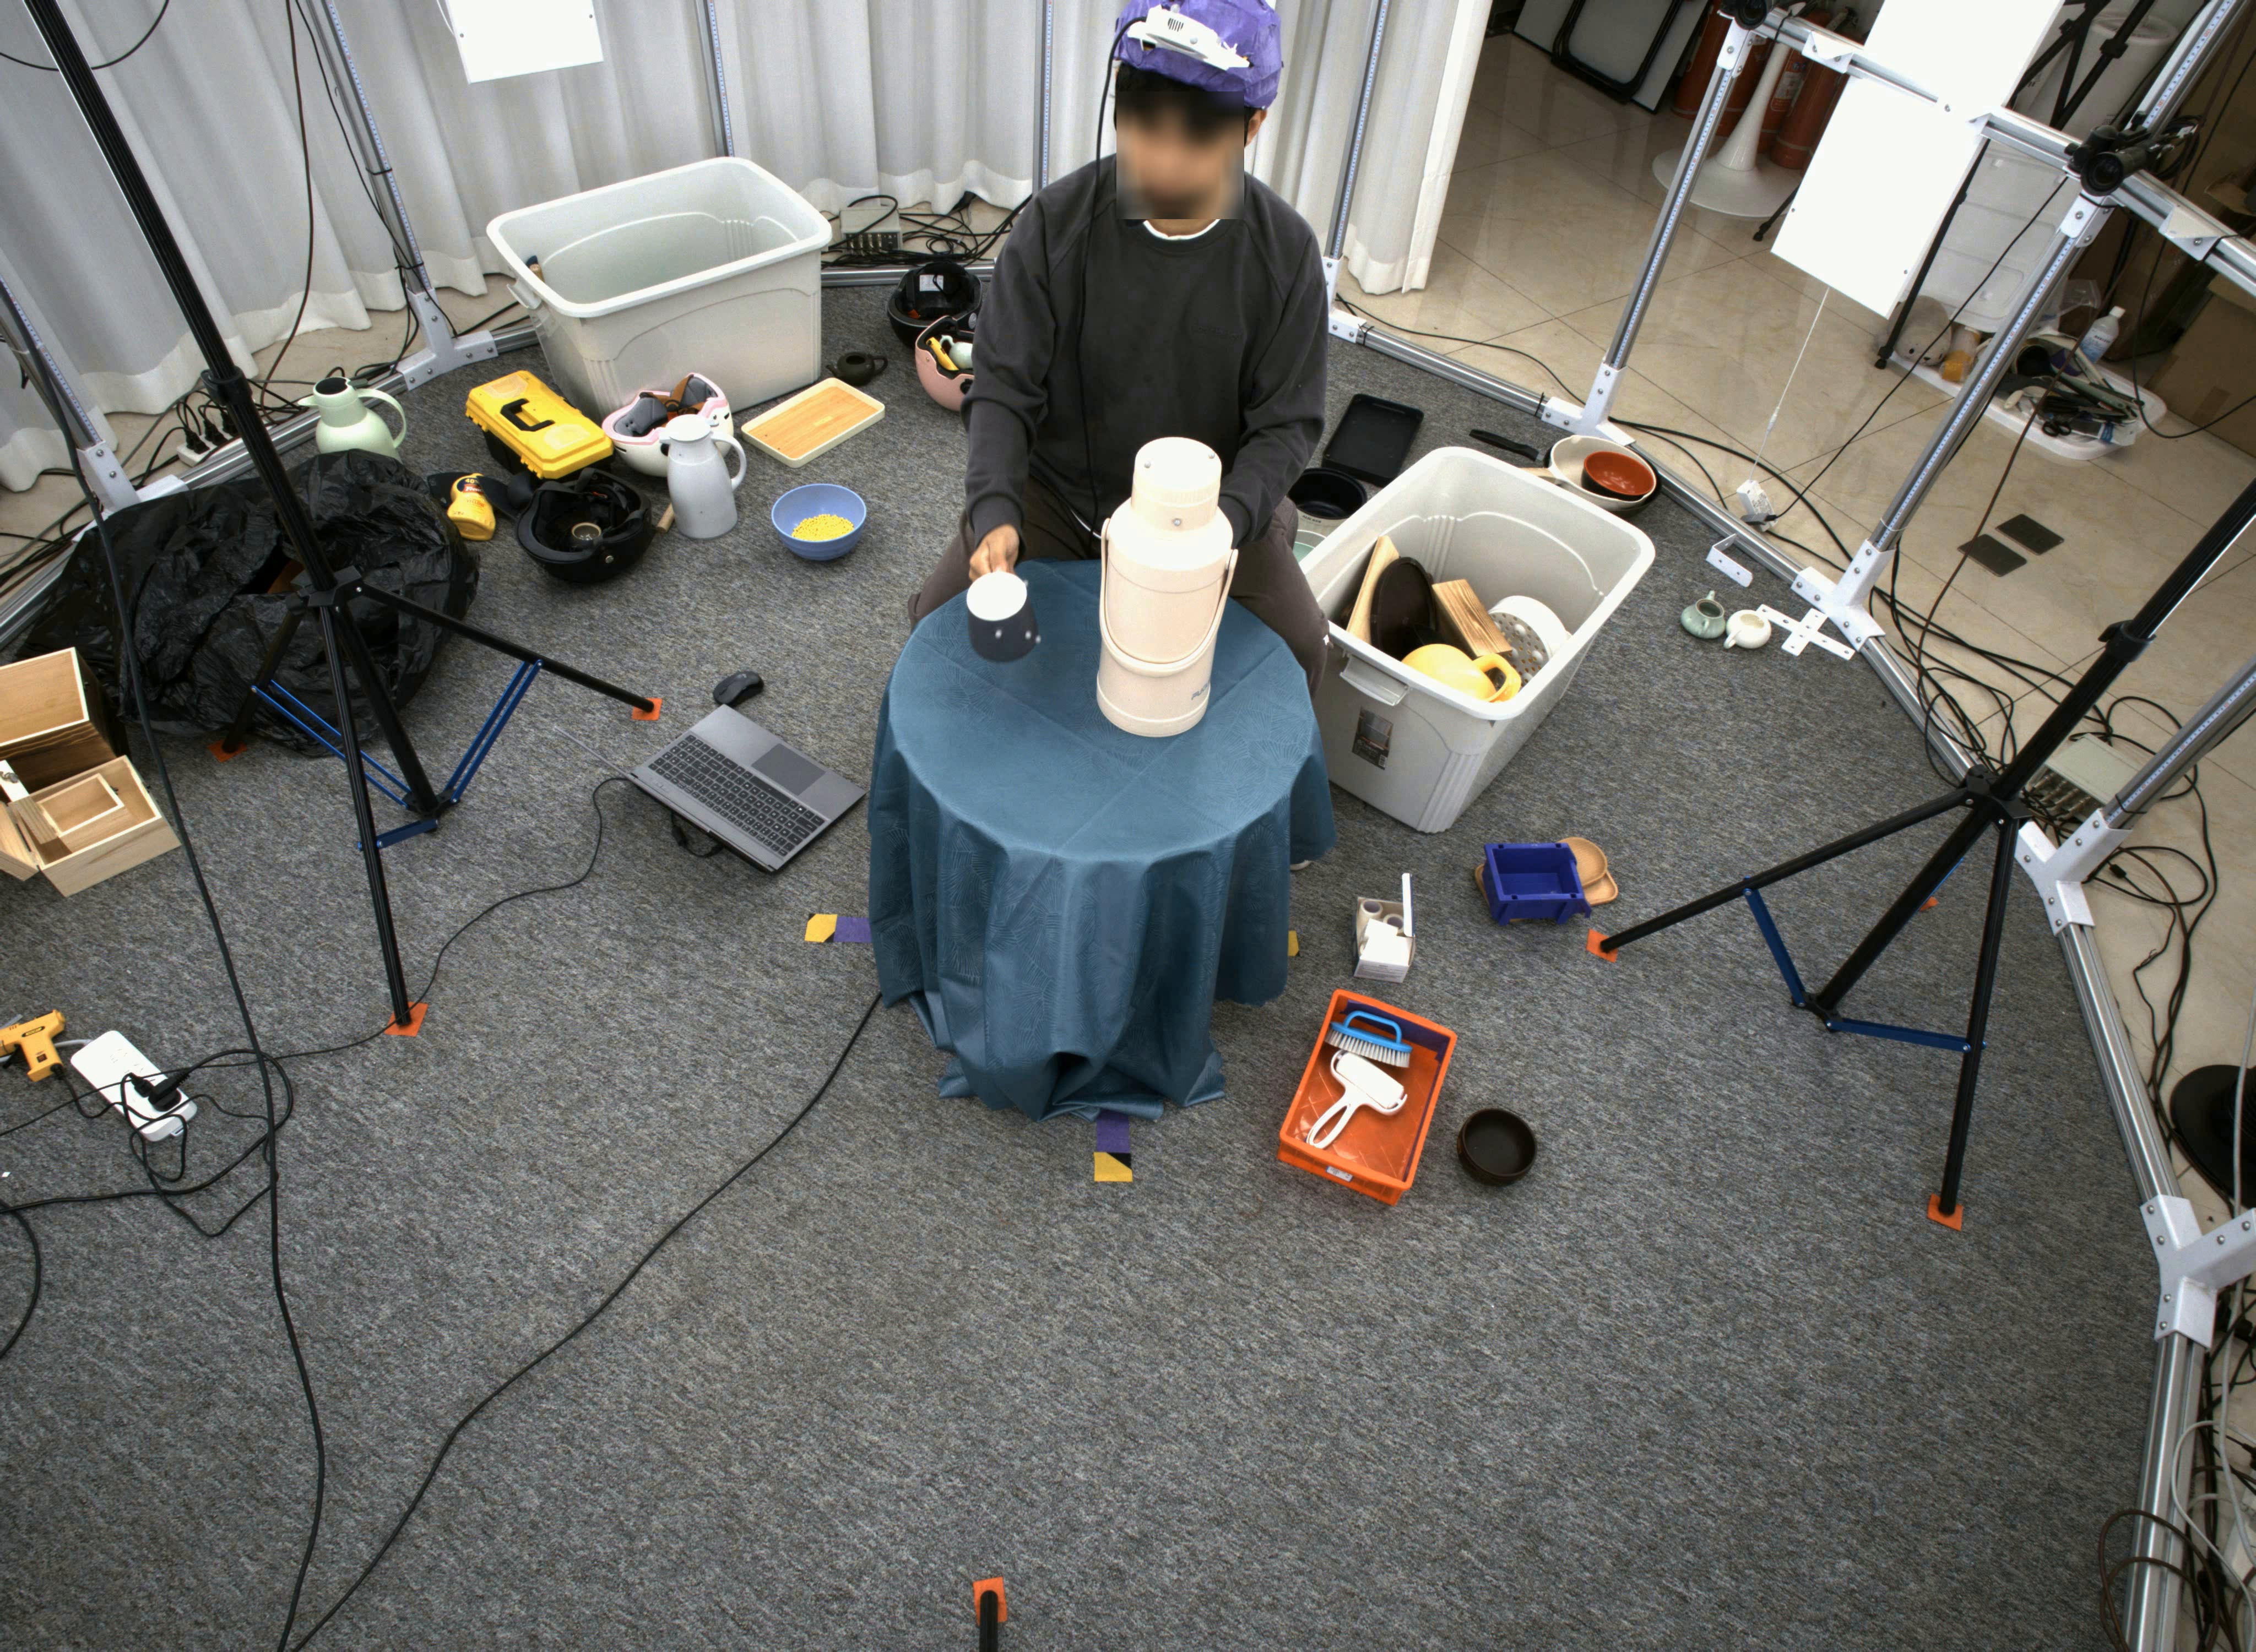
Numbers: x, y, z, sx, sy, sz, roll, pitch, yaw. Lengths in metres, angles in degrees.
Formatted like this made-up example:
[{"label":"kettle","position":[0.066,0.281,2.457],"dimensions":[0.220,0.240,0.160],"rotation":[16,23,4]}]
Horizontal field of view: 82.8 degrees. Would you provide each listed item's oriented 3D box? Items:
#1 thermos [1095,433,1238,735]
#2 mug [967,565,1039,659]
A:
[{"label":"thermos","position":[0.051,-0.321,1.692],"dimensions":[0.176,0.396,0.211],"rotation":[15,50,8]},{"label":"mug","position":[-0.167,-0.291,1.707],"dimensions":[0.093,0.088,0.126],"rotation":[-4,55,1]}]
